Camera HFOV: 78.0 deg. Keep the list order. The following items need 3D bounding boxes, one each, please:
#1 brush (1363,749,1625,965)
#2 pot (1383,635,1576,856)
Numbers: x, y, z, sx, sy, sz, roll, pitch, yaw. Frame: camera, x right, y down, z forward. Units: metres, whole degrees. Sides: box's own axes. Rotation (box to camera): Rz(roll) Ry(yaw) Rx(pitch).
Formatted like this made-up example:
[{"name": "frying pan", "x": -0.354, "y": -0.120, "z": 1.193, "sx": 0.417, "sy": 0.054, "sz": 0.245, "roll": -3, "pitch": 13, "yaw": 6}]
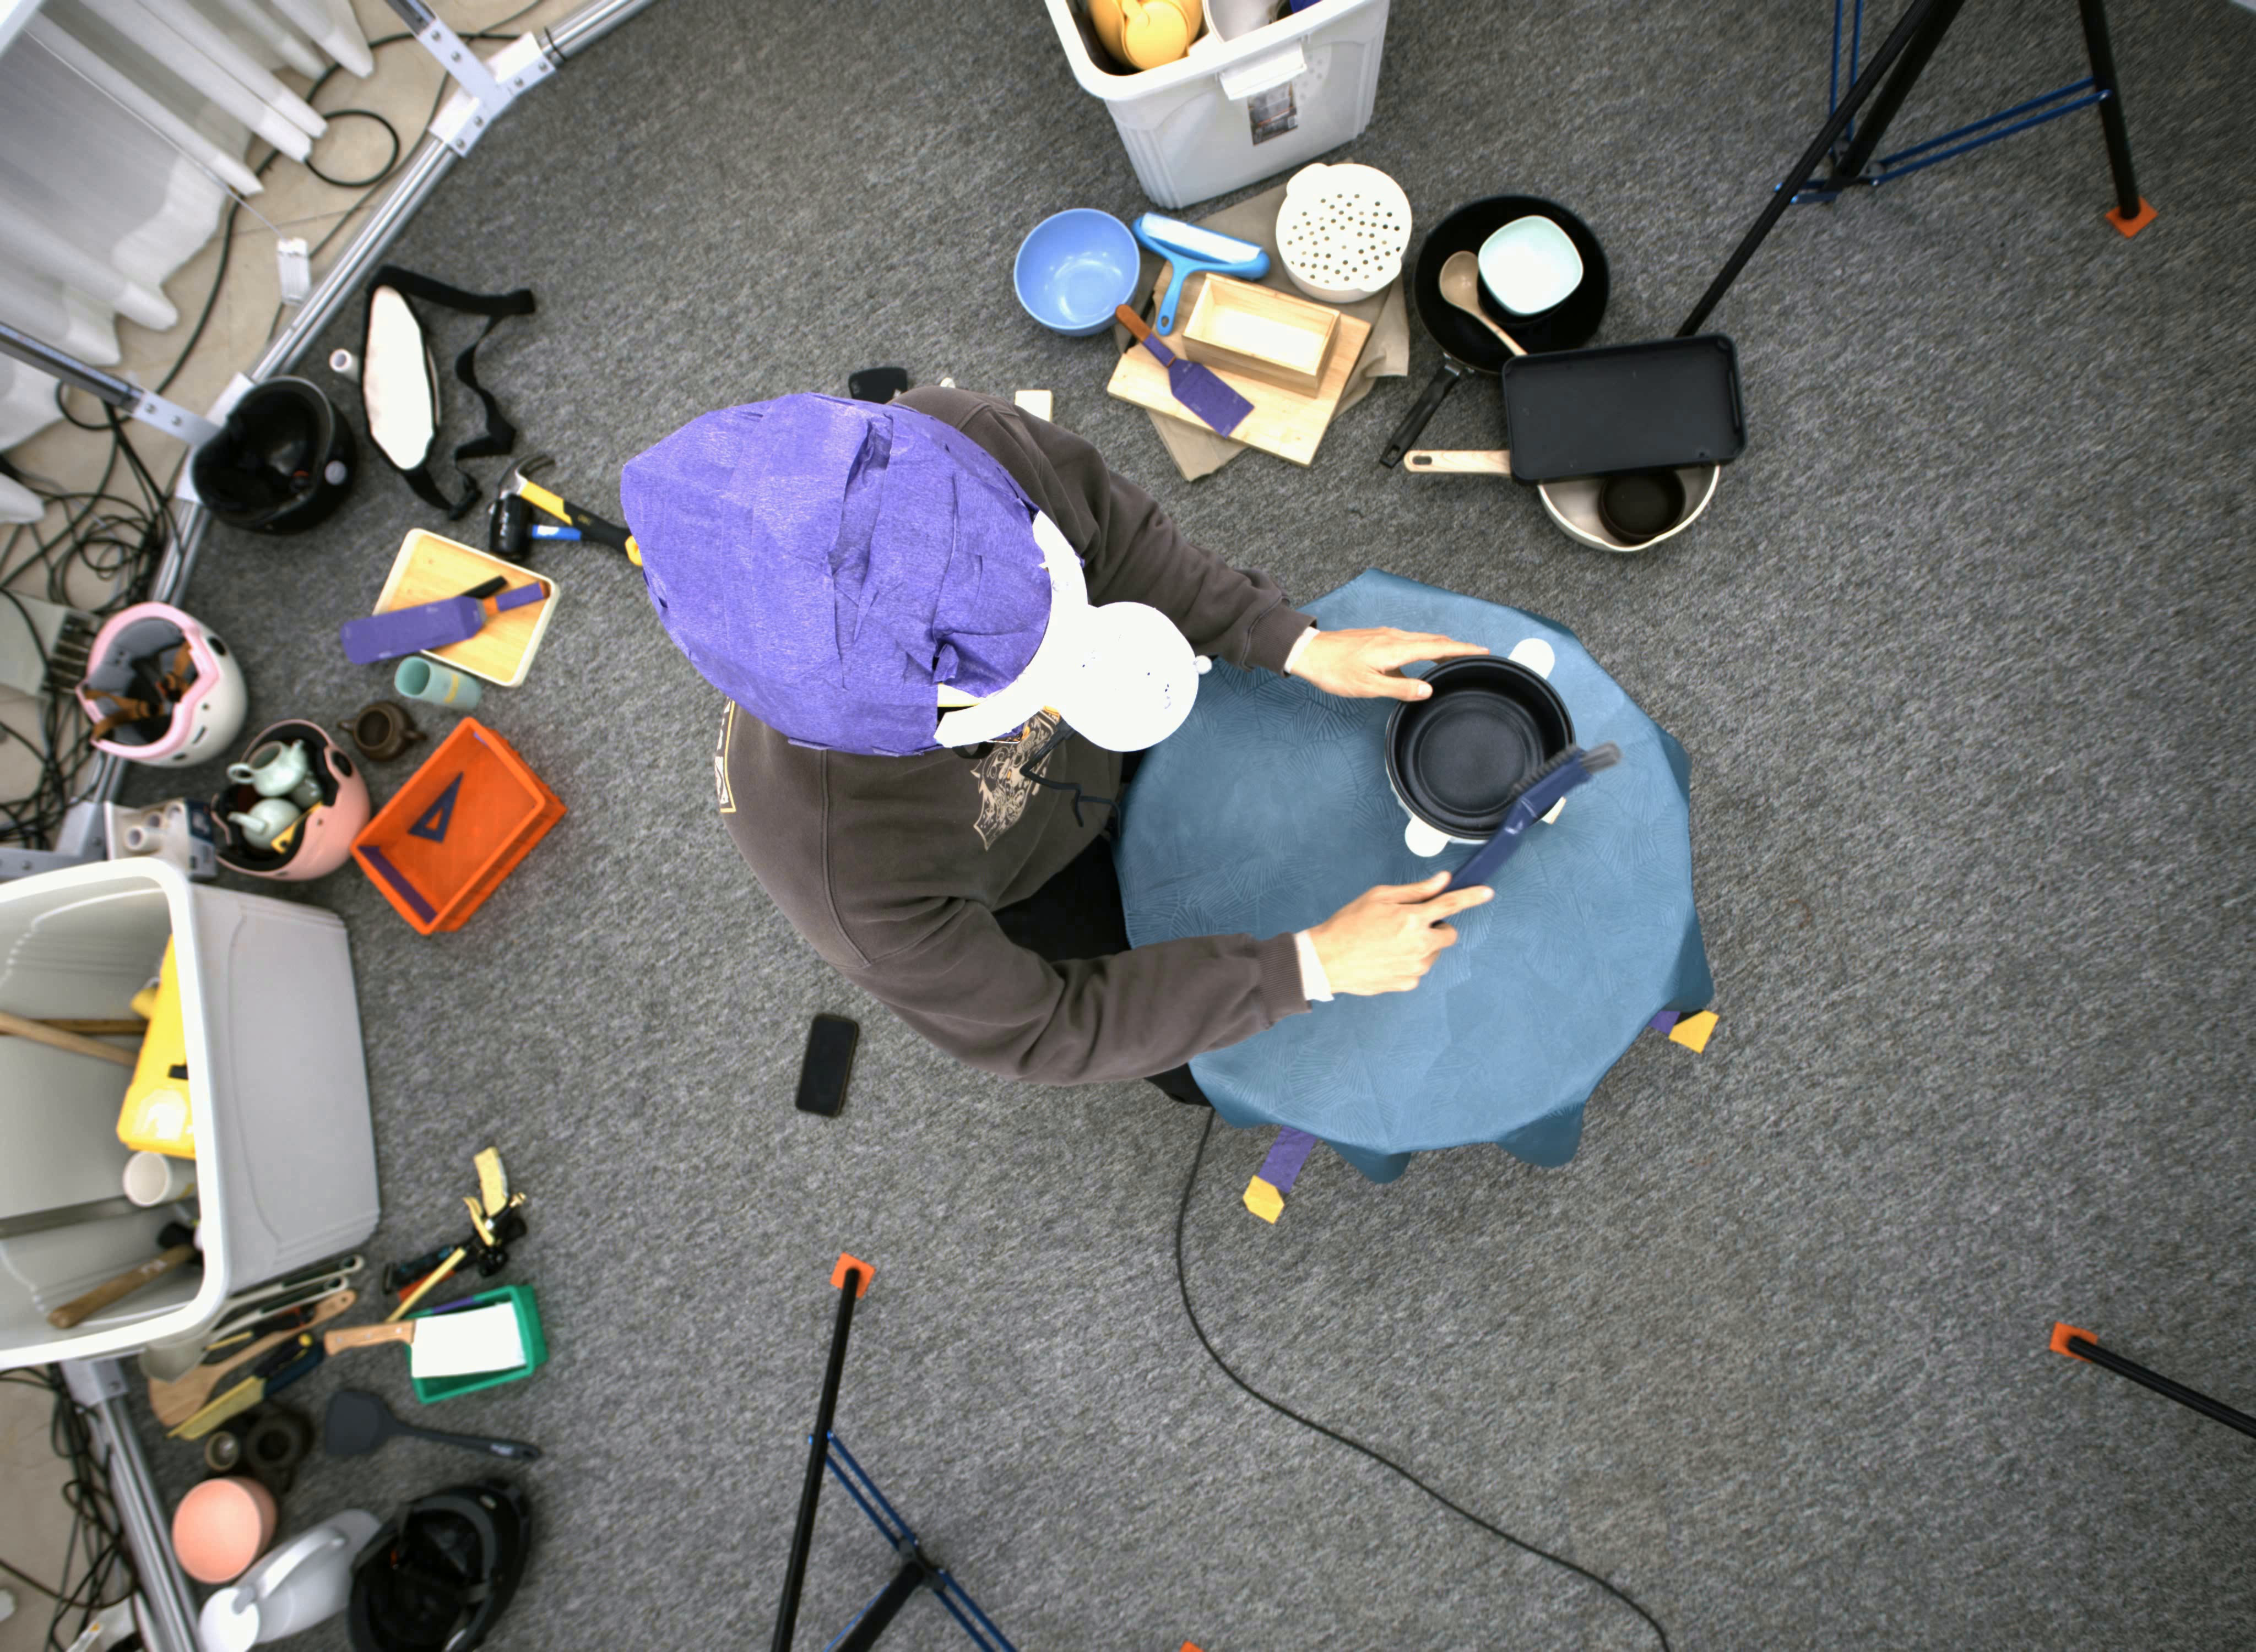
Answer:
[{"name": "brush", "x": 0.326, "y": 0.024, "z": 1.239, "sx": 0.272, "sy": 0.095, "sz": 0.034, "roll": -47, "pitch": 112, "yaw": -3}, {"name": "pot", "x": 0.353, "y": -0.072, "z": 1.378, "sx": 0.190, "sy": 0.142, "sz": 0.241, "roll": 31, "pitch": 93, "yaw": 14}]
